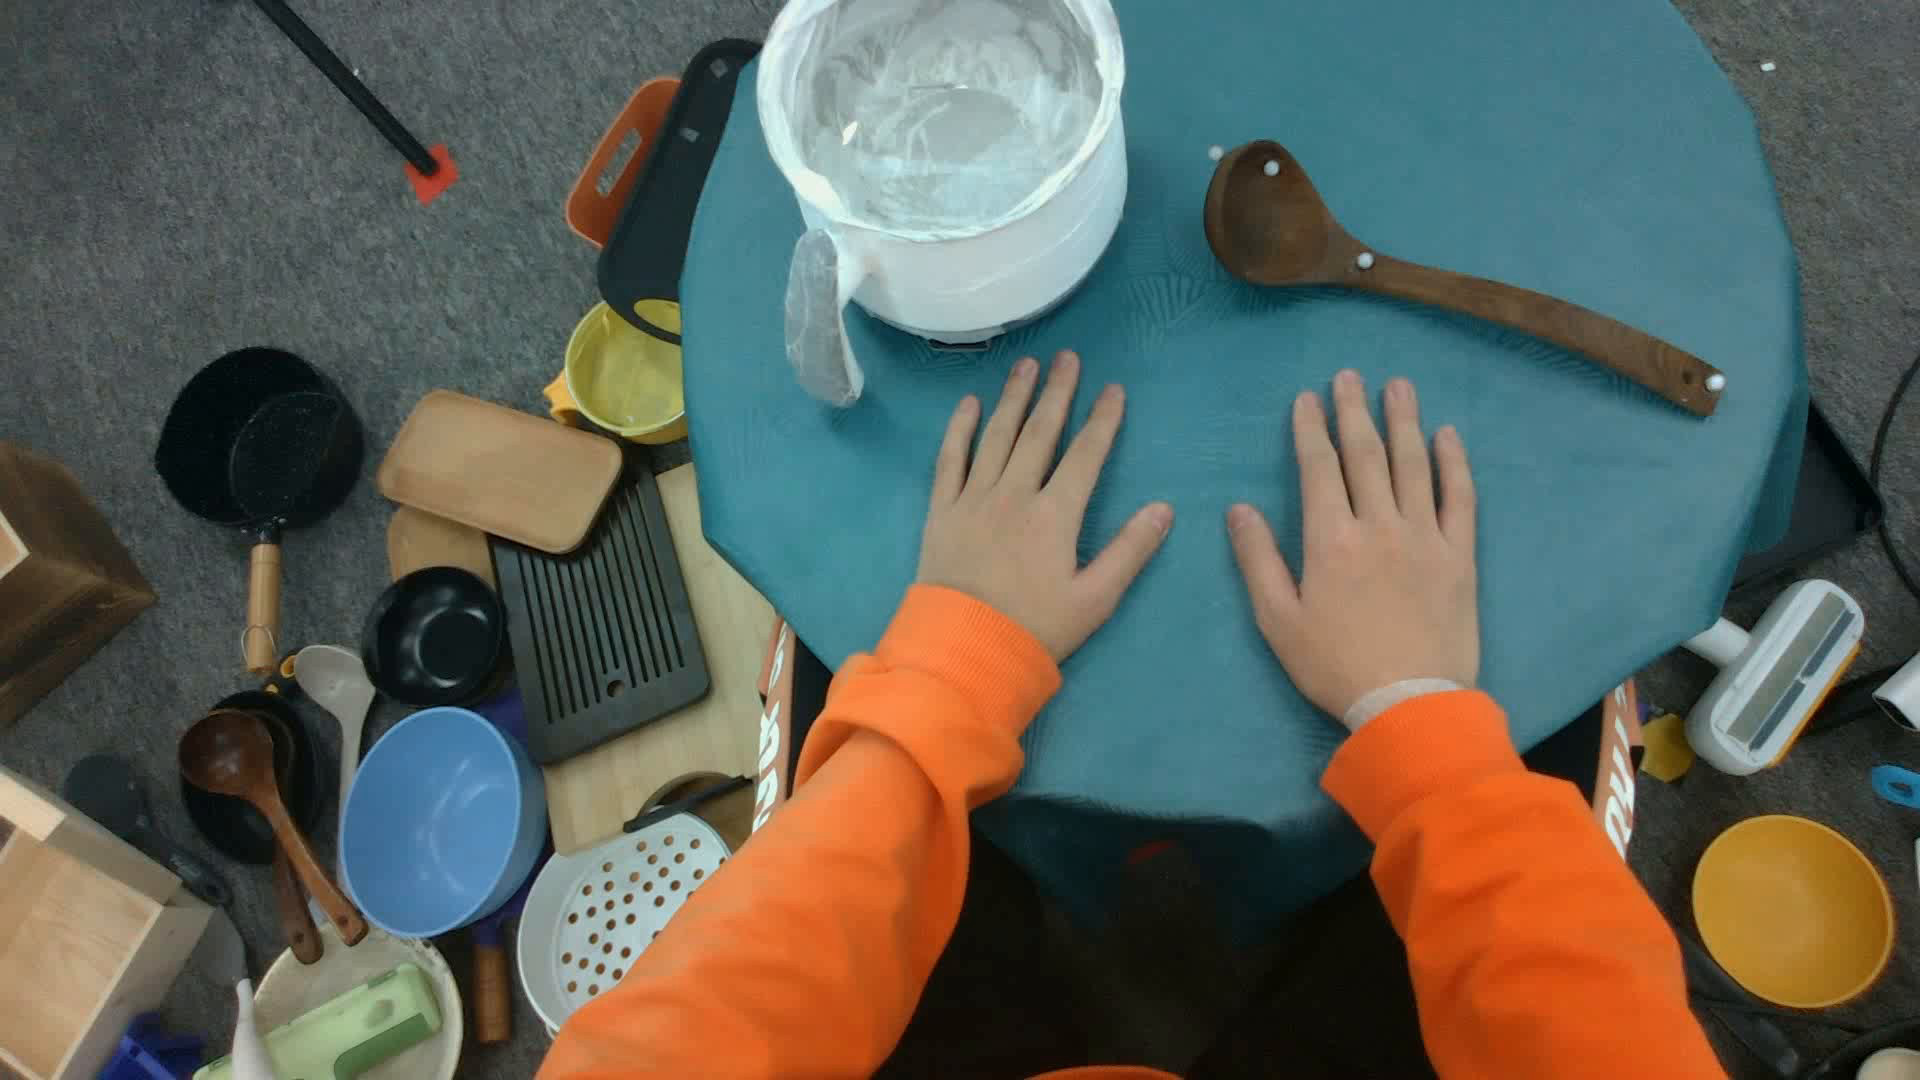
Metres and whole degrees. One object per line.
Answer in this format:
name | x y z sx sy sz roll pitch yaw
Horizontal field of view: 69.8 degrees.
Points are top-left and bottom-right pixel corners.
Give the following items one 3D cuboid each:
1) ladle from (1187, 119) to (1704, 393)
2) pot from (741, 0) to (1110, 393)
ladle | 0.248 -0.142 0.701 0.274 0.071 0.076 22 81 14
pot | -0.025 -0.189 0.714 0.179 0.136 0.234 29 79 15
